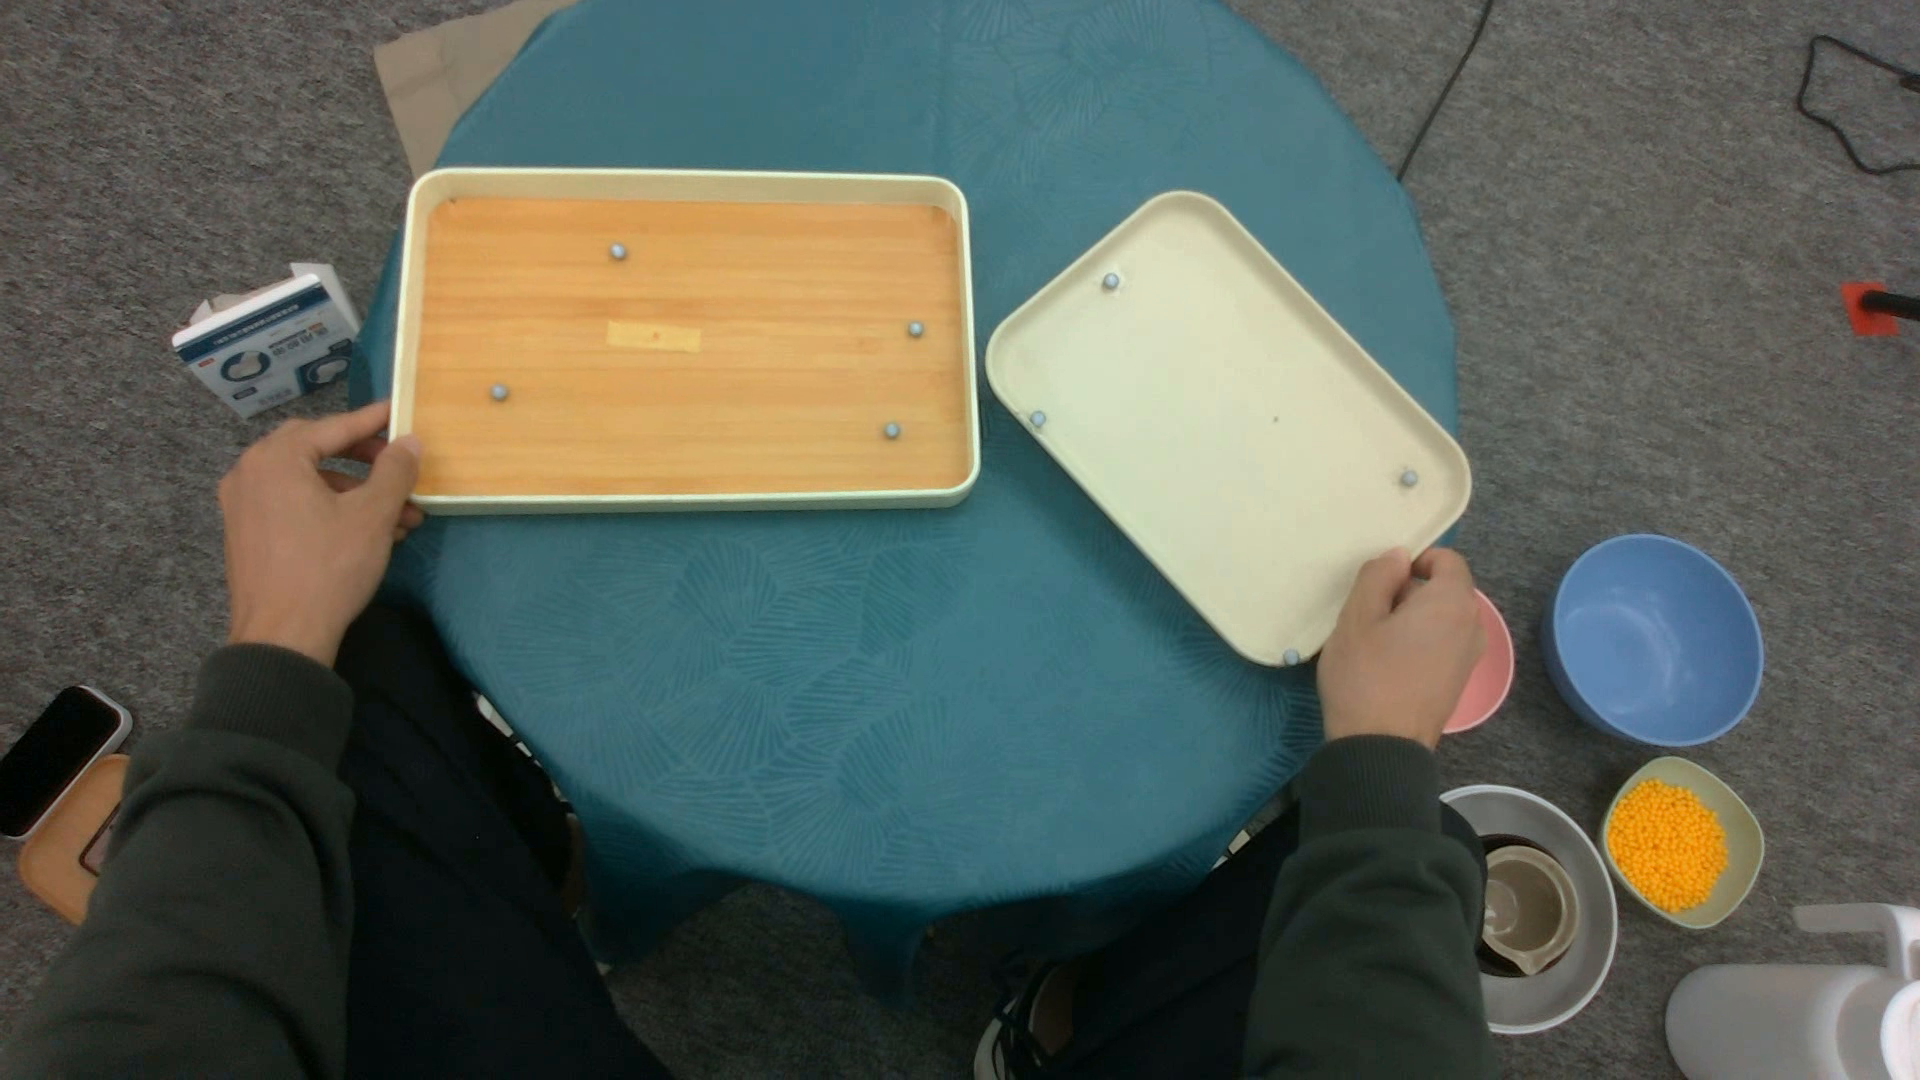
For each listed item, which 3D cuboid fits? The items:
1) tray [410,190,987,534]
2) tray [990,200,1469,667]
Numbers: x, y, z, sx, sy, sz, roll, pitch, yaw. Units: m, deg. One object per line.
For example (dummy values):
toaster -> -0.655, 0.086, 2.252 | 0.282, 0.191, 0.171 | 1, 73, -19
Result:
tray -> -0.140, -0.101, 0.756 | 0.300, 0.027, 0.192 | -2, 73, -5
tray -> 0.145, -0.061, 0.747 | 0.171, 0.017, 0.240 | -42, 83, -13
